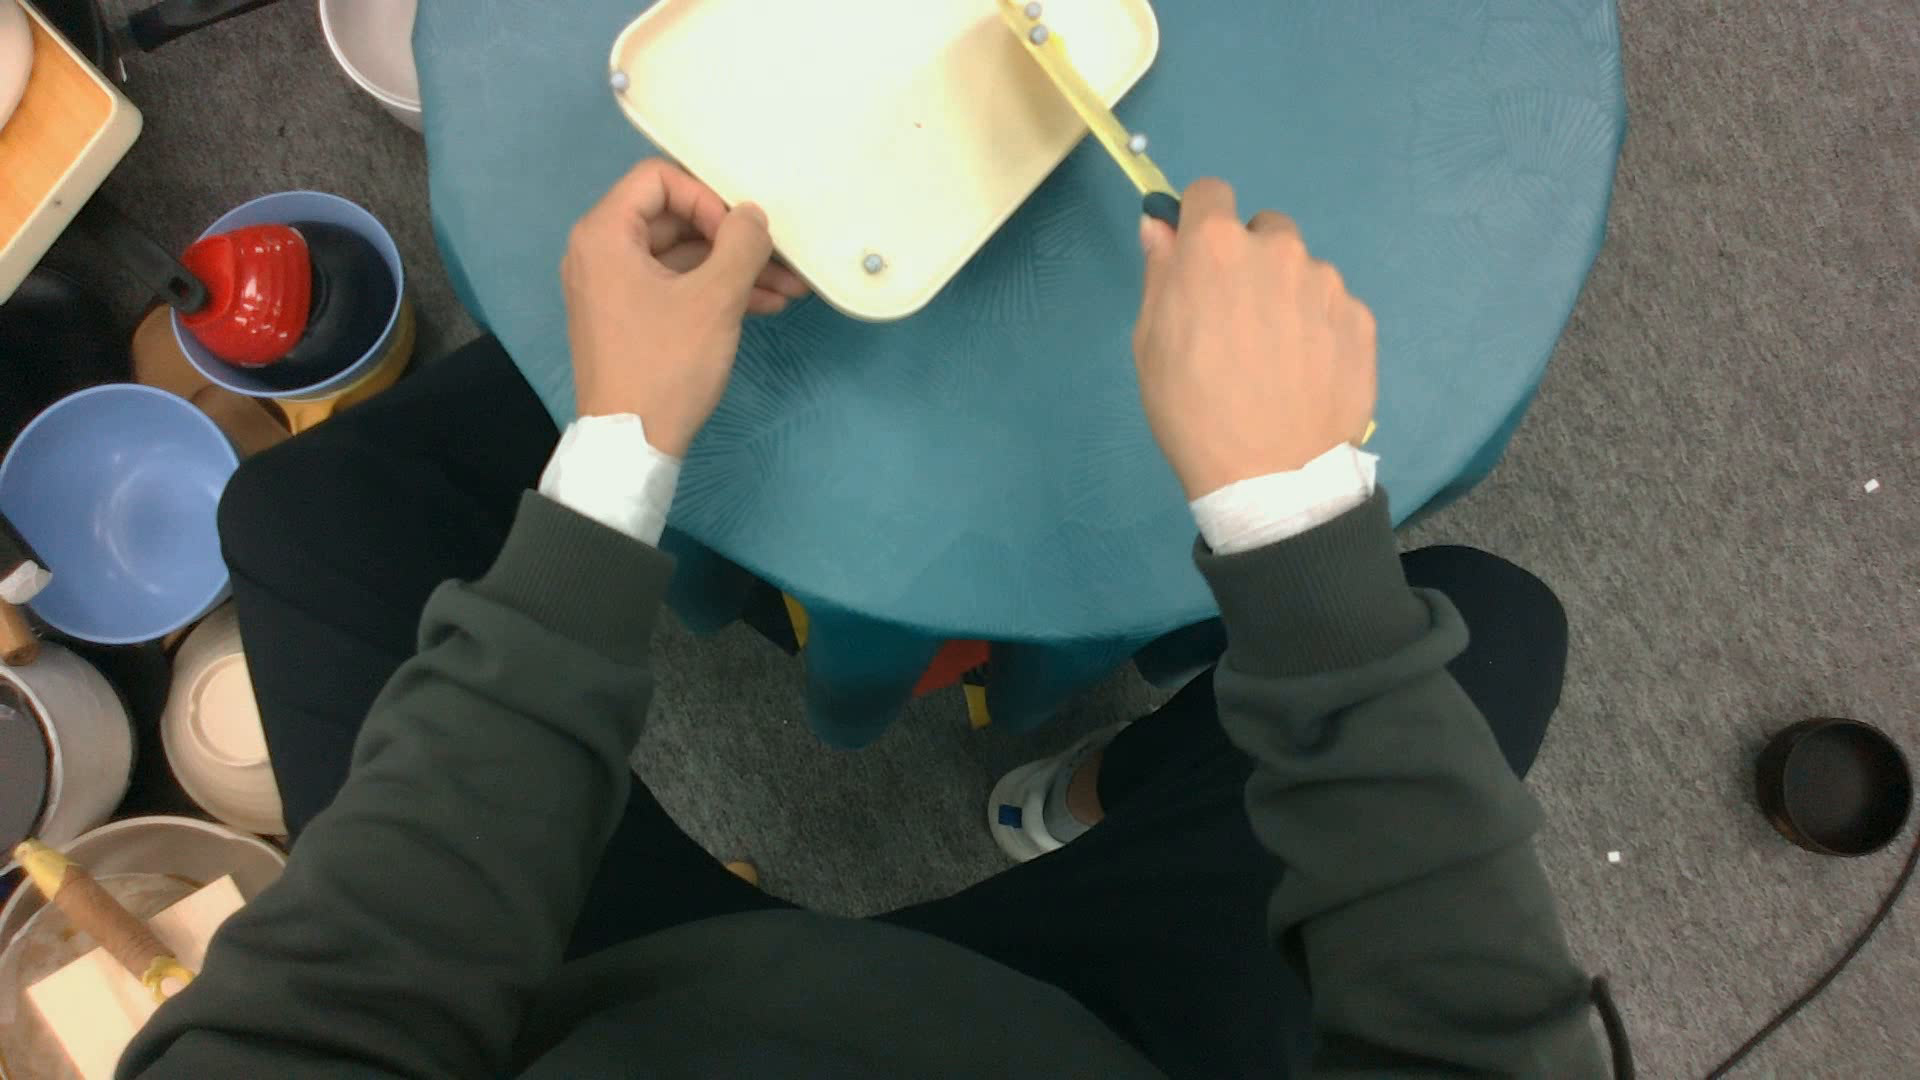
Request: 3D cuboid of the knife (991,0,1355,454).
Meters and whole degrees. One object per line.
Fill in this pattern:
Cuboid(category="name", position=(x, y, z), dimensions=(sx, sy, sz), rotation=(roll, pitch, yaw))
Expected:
Cuboid(category="knife", position=(0.085, -0.151, 0.599), dimensions=(0.027, 0.081, 0.290), rotation=(-41, 63, 24))

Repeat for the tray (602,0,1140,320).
Cuboid(category="tray", position=(-0.033, -0.222, 0.637), dimensions=(0.171, 0.017, 0.240), rotation=(42, 66, -5))
